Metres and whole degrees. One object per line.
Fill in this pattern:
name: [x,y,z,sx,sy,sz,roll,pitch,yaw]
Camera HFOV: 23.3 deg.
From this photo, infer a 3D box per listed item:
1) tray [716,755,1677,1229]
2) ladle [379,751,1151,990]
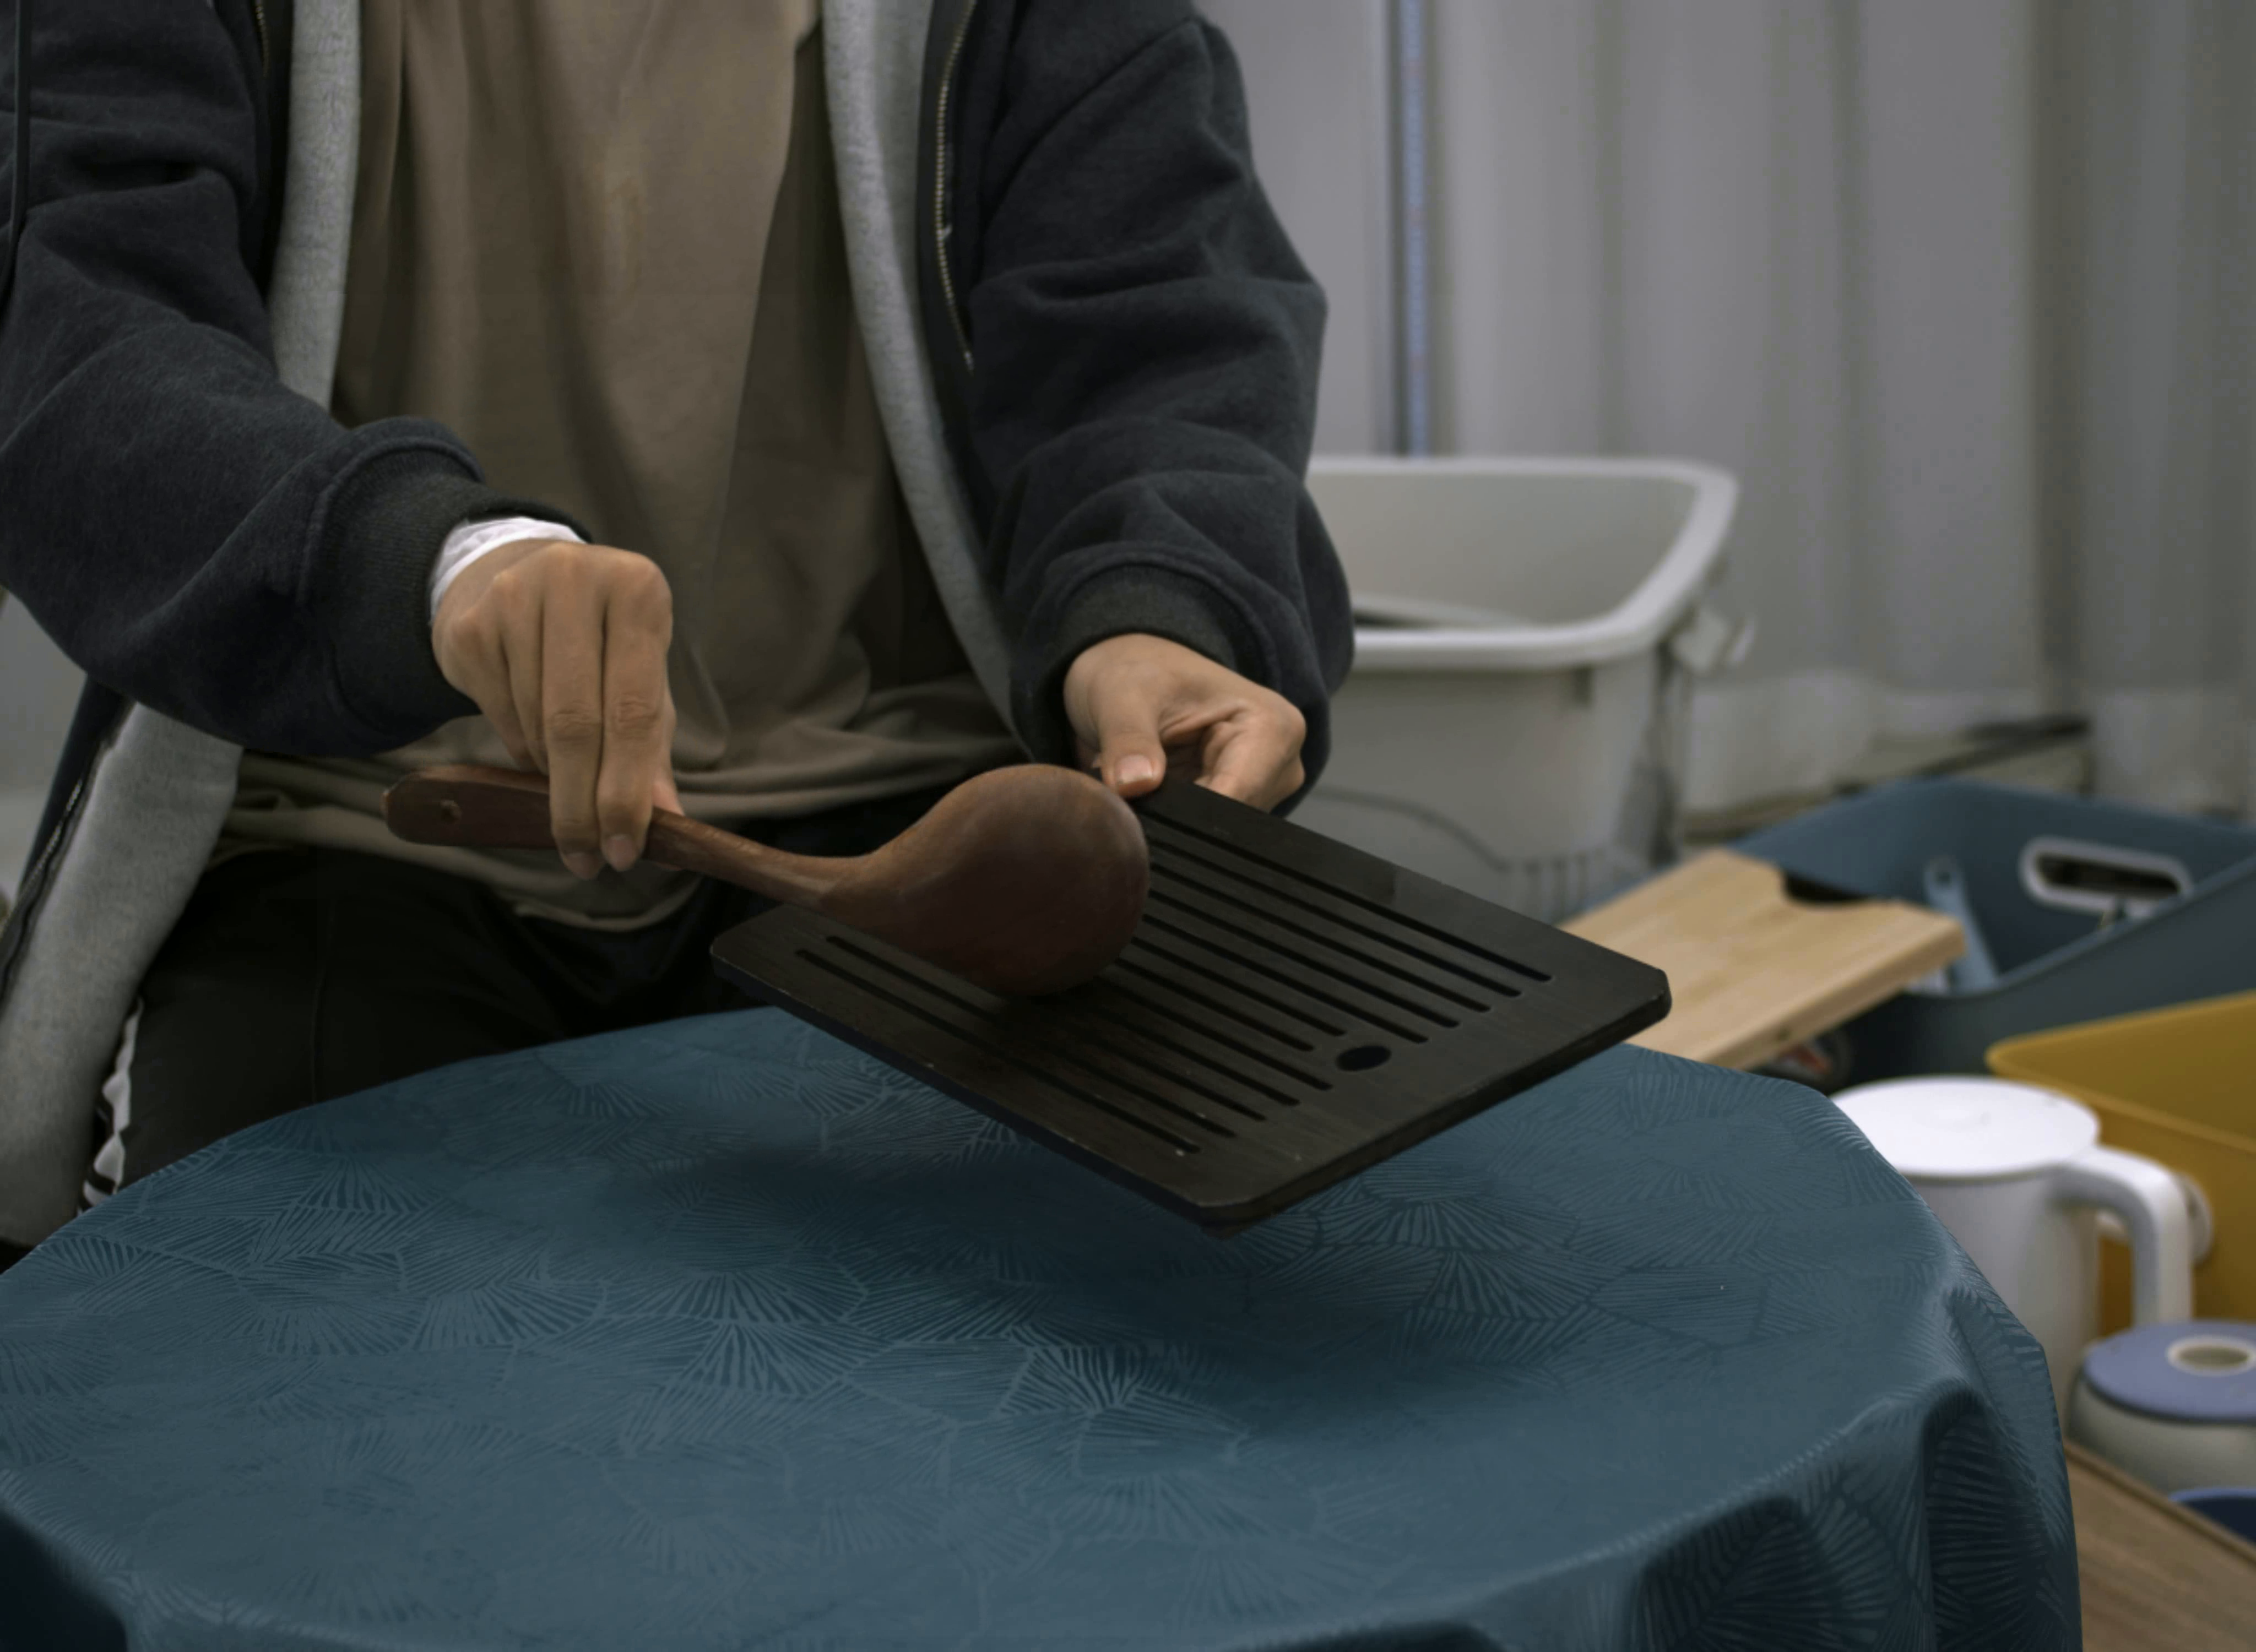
tray: [0.015,0.046,1.673,0.170,0.018,0.308,-24,25,-26]
ladle: [-0.114,0.001,1.700,0.261,0.076,0.065,10,26,30]
